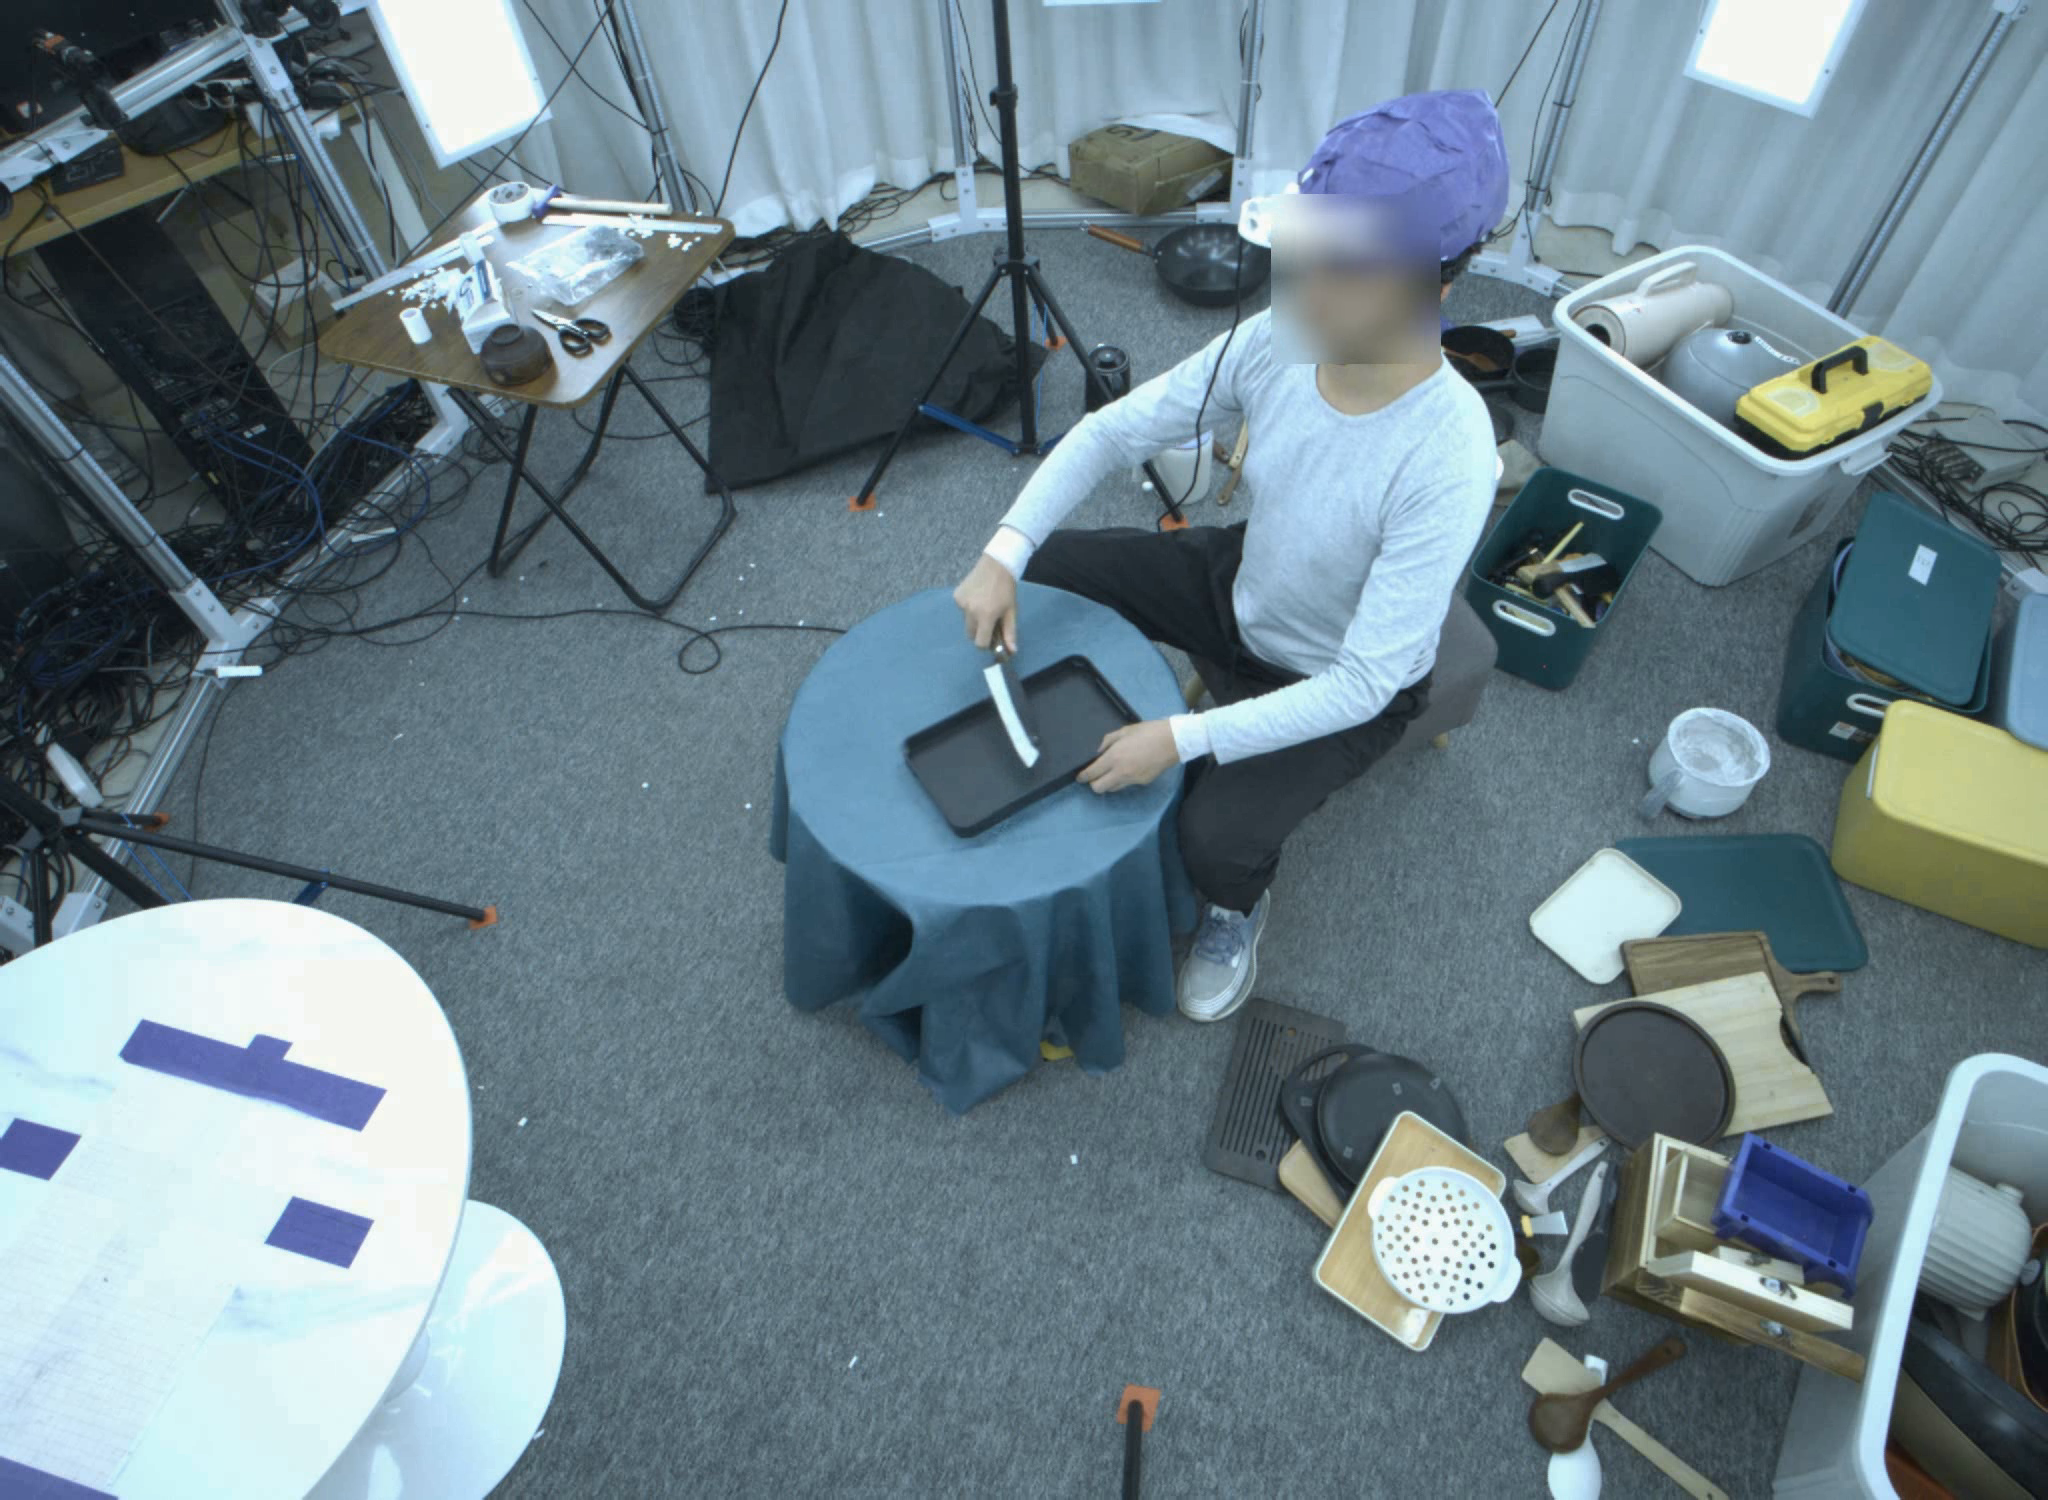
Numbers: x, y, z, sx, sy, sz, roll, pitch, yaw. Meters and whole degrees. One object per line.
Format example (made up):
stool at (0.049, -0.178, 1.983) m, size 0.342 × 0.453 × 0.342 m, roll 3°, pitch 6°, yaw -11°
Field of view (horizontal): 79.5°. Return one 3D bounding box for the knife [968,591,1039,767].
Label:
knife at (-0.032, -0.105, 1.775) m, size 0.050 × 0.020 × 0.286 m, roll -20°, pitch 70°, yaw 7°

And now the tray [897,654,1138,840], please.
tray at (-0.007, -0.009, 1.780) m, size 0.320 × 0.037 × 0.181 m, roll -29°, pitch 59°, yaw -19°
